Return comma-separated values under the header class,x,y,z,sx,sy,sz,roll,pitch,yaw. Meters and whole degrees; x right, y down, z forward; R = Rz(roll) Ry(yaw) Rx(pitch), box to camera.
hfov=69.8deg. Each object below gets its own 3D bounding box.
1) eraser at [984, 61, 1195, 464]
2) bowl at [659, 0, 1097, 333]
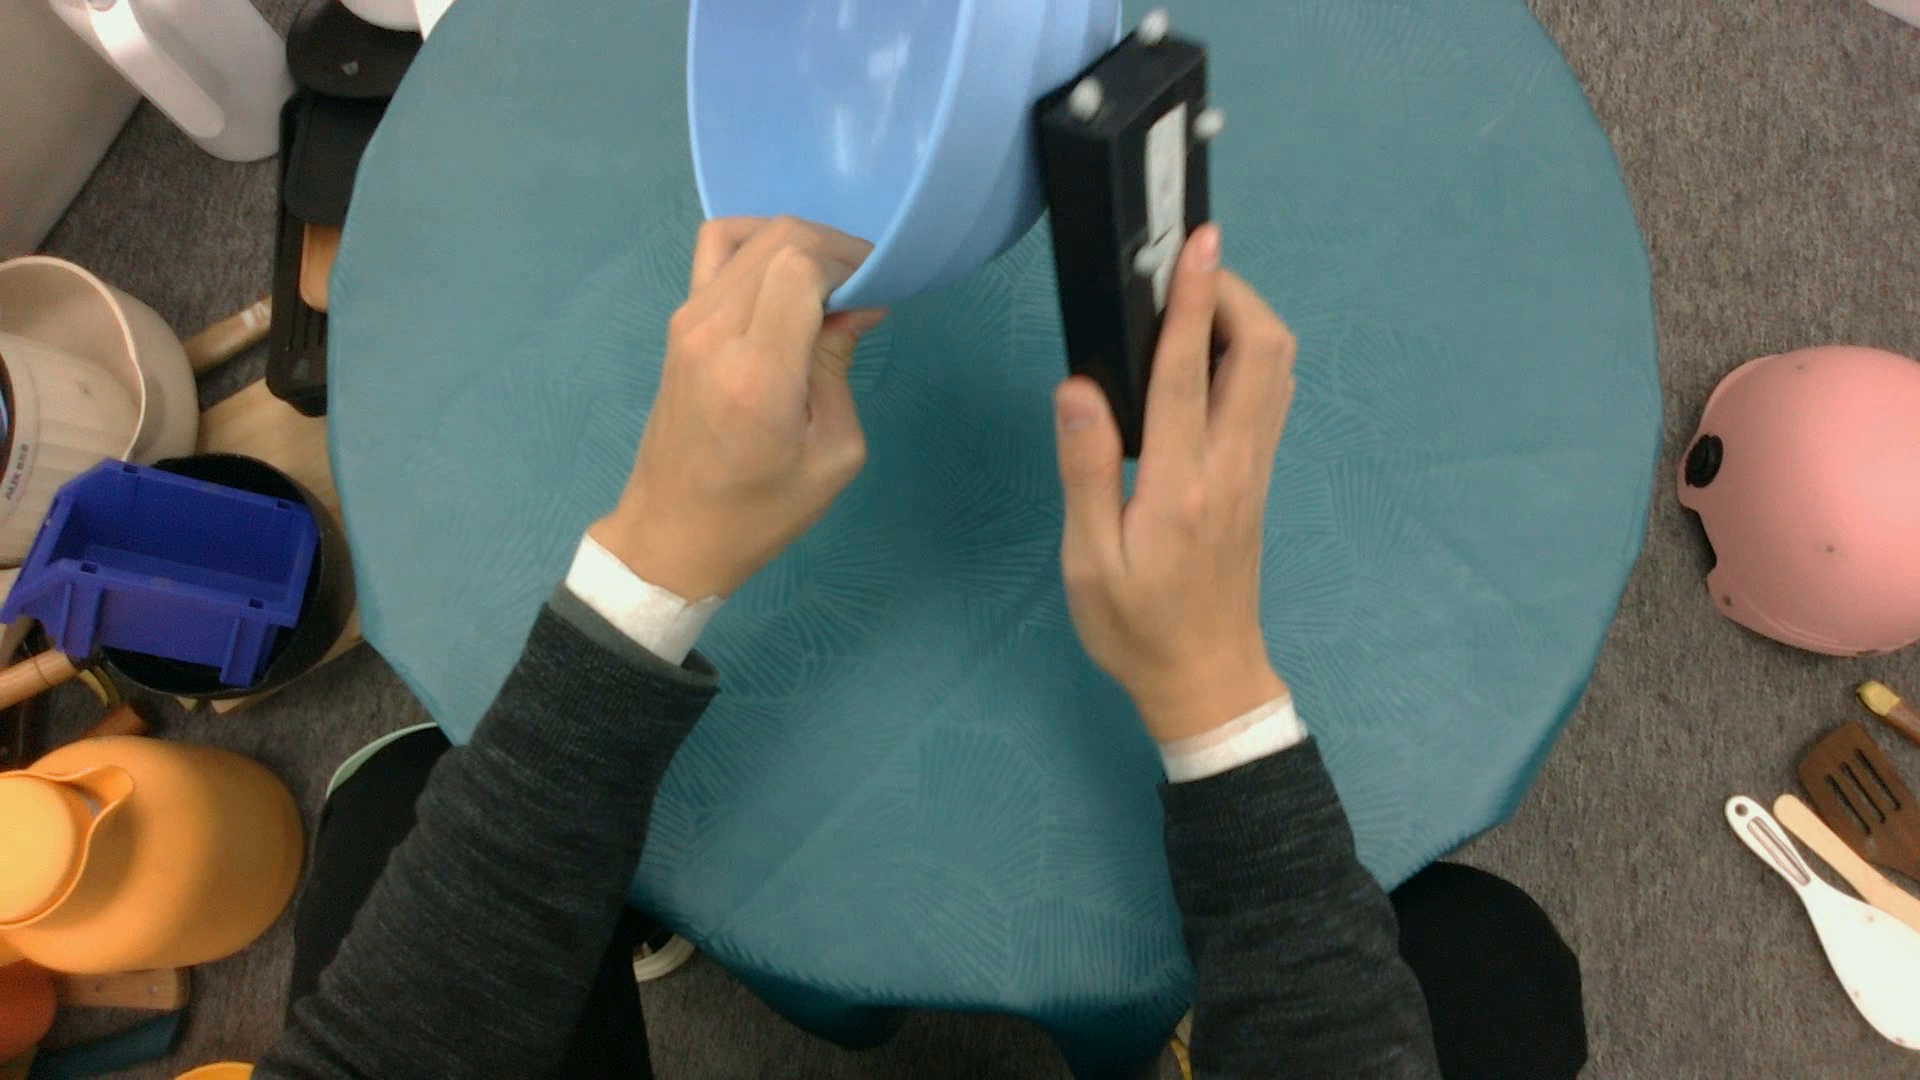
class,x,y,z,sx,sy,sz,roll,pitch,yaw
eraser,0.045,-0.085,0.441,0.030,0.125,0.054,29,62,35
bowl,-0.019,-0.170,0.484,0.096,0.195,0.197,-3,73,-39
